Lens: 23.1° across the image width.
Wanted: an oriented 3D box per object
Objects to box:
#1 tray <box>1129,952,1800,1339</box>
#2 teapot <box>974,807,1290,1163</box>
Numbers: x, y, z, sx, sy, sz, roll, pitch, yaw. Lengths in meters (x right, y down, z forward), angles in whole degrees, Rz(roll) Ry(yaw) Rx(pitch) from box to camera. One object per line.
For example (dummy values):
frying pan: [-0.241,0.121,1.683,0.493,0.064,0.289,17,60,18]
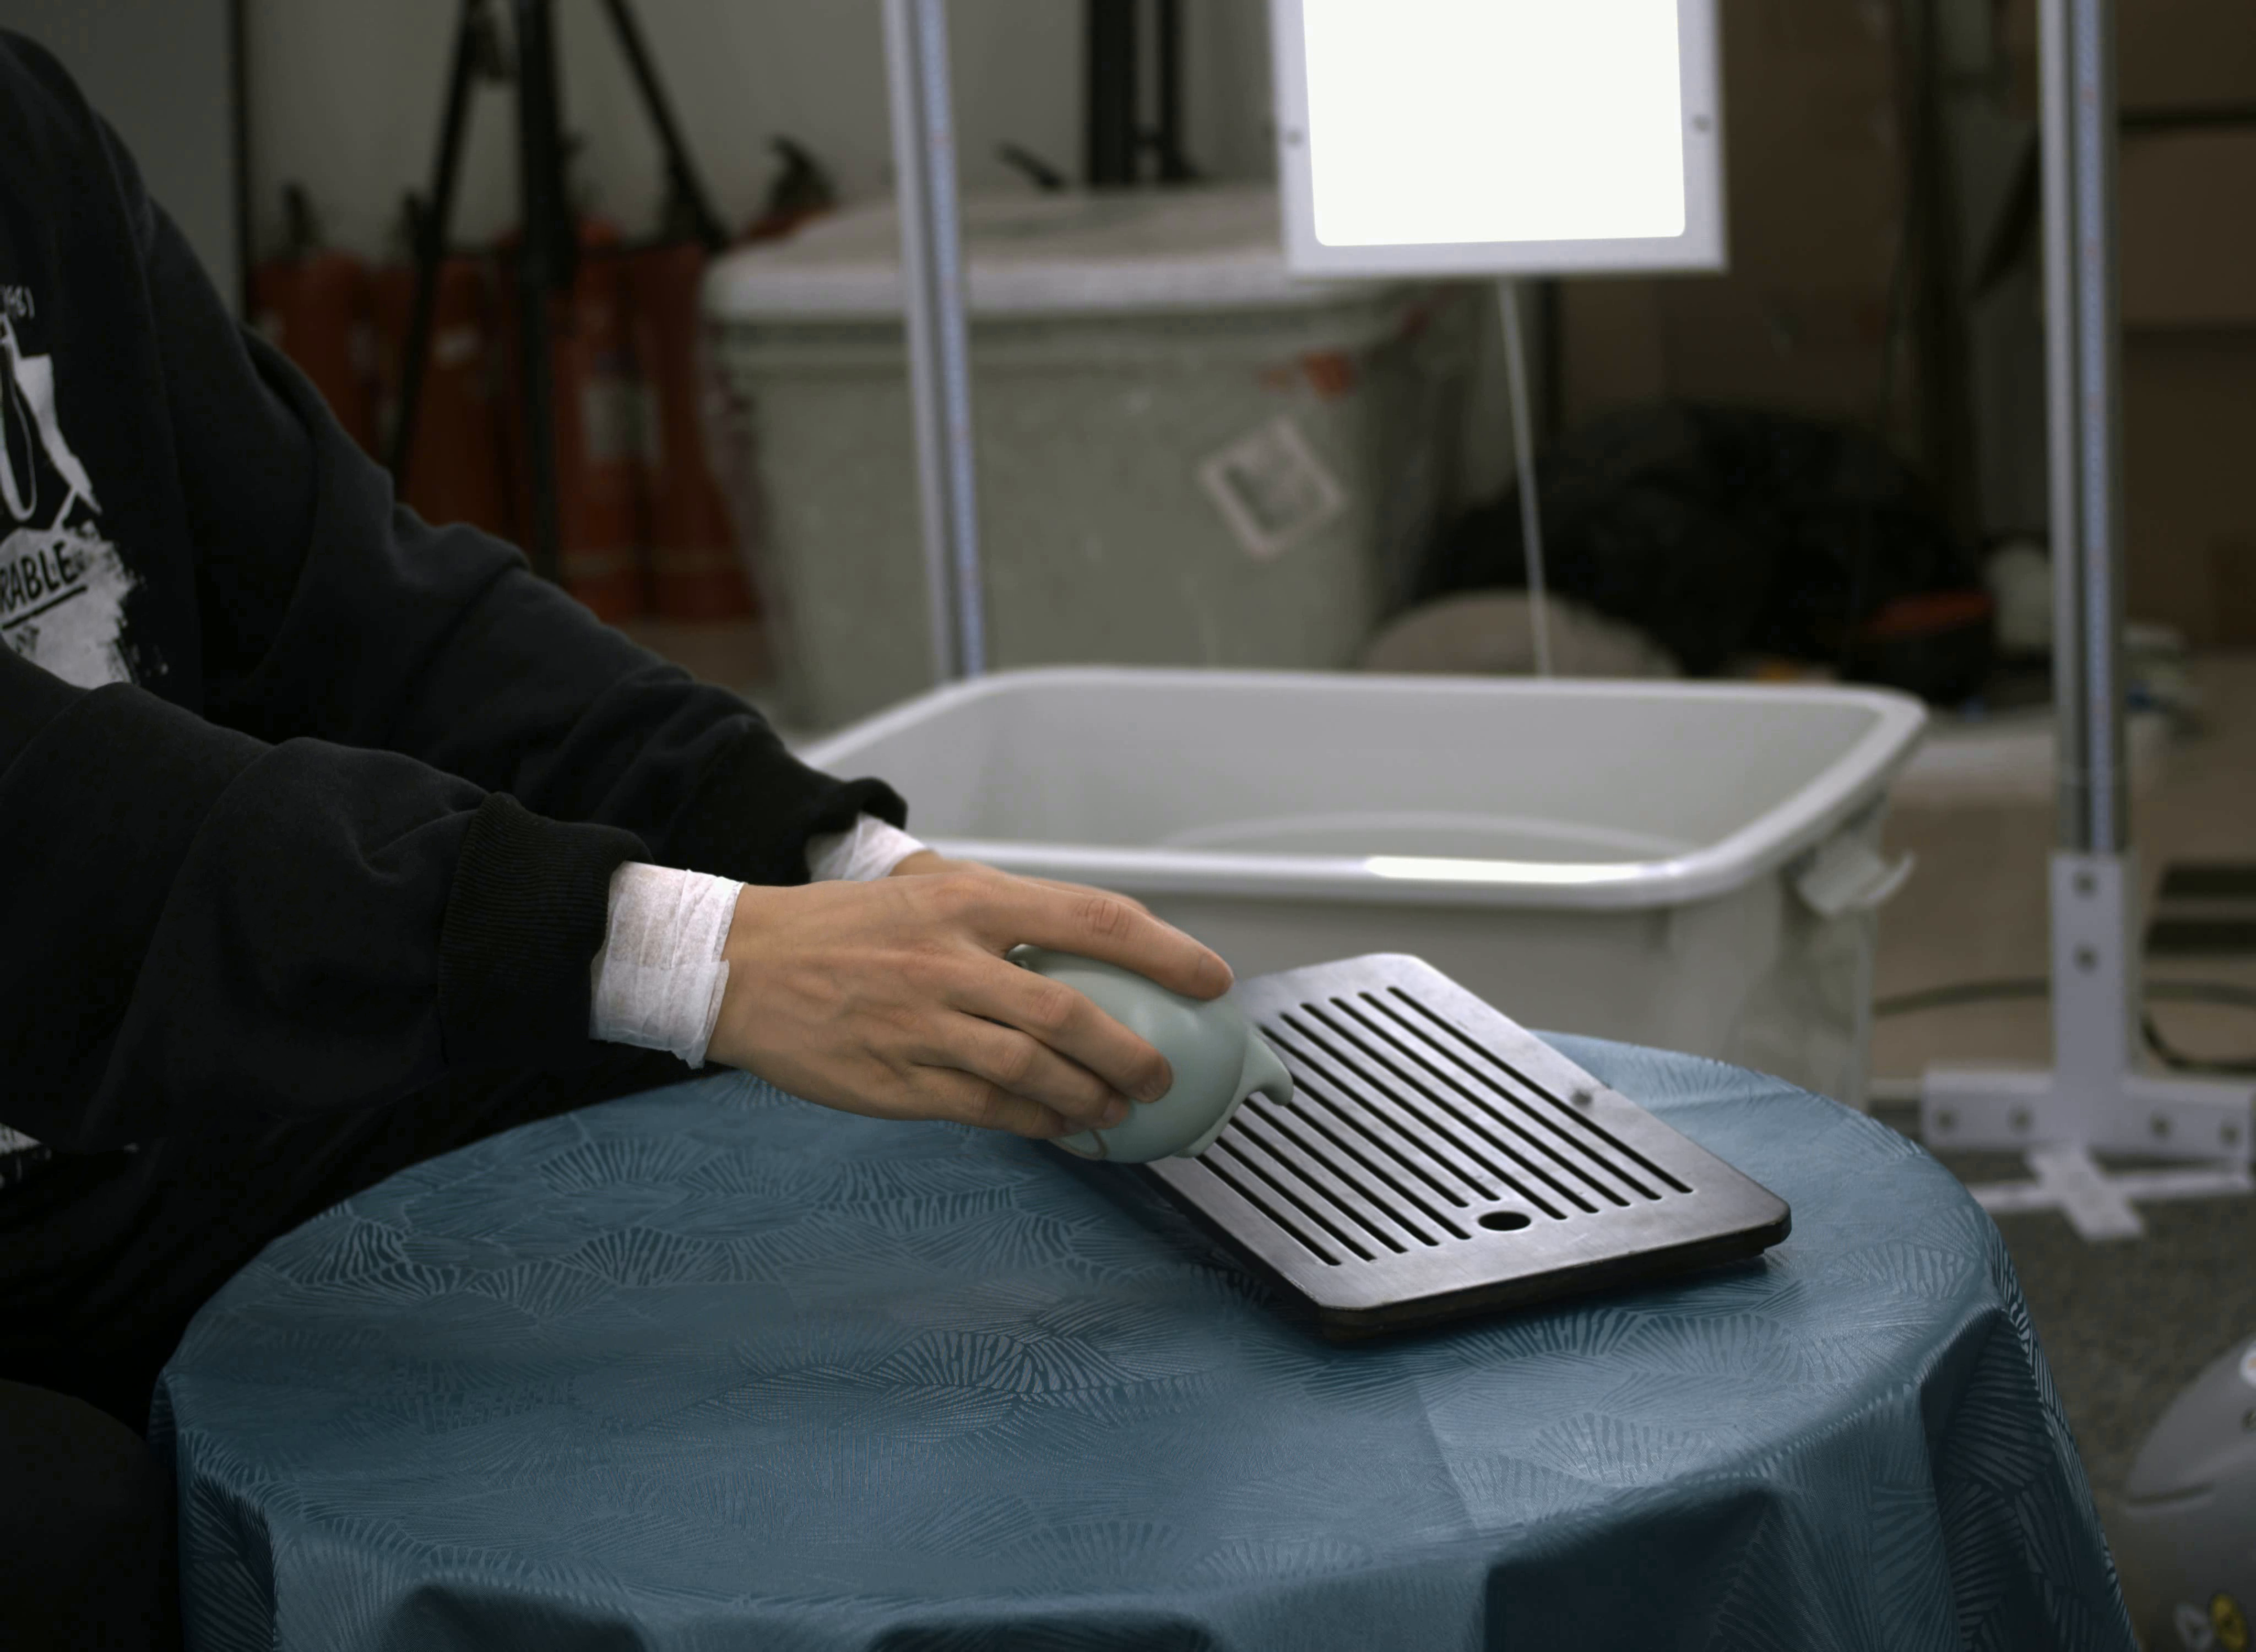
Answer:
tray: [0.086,0.105,1.874,0.167,0.019,0.310,-11,19,-19]
teapot: [-0.006,0.066,1.766,0.074,0.142,0.090,-51,29,-20]
